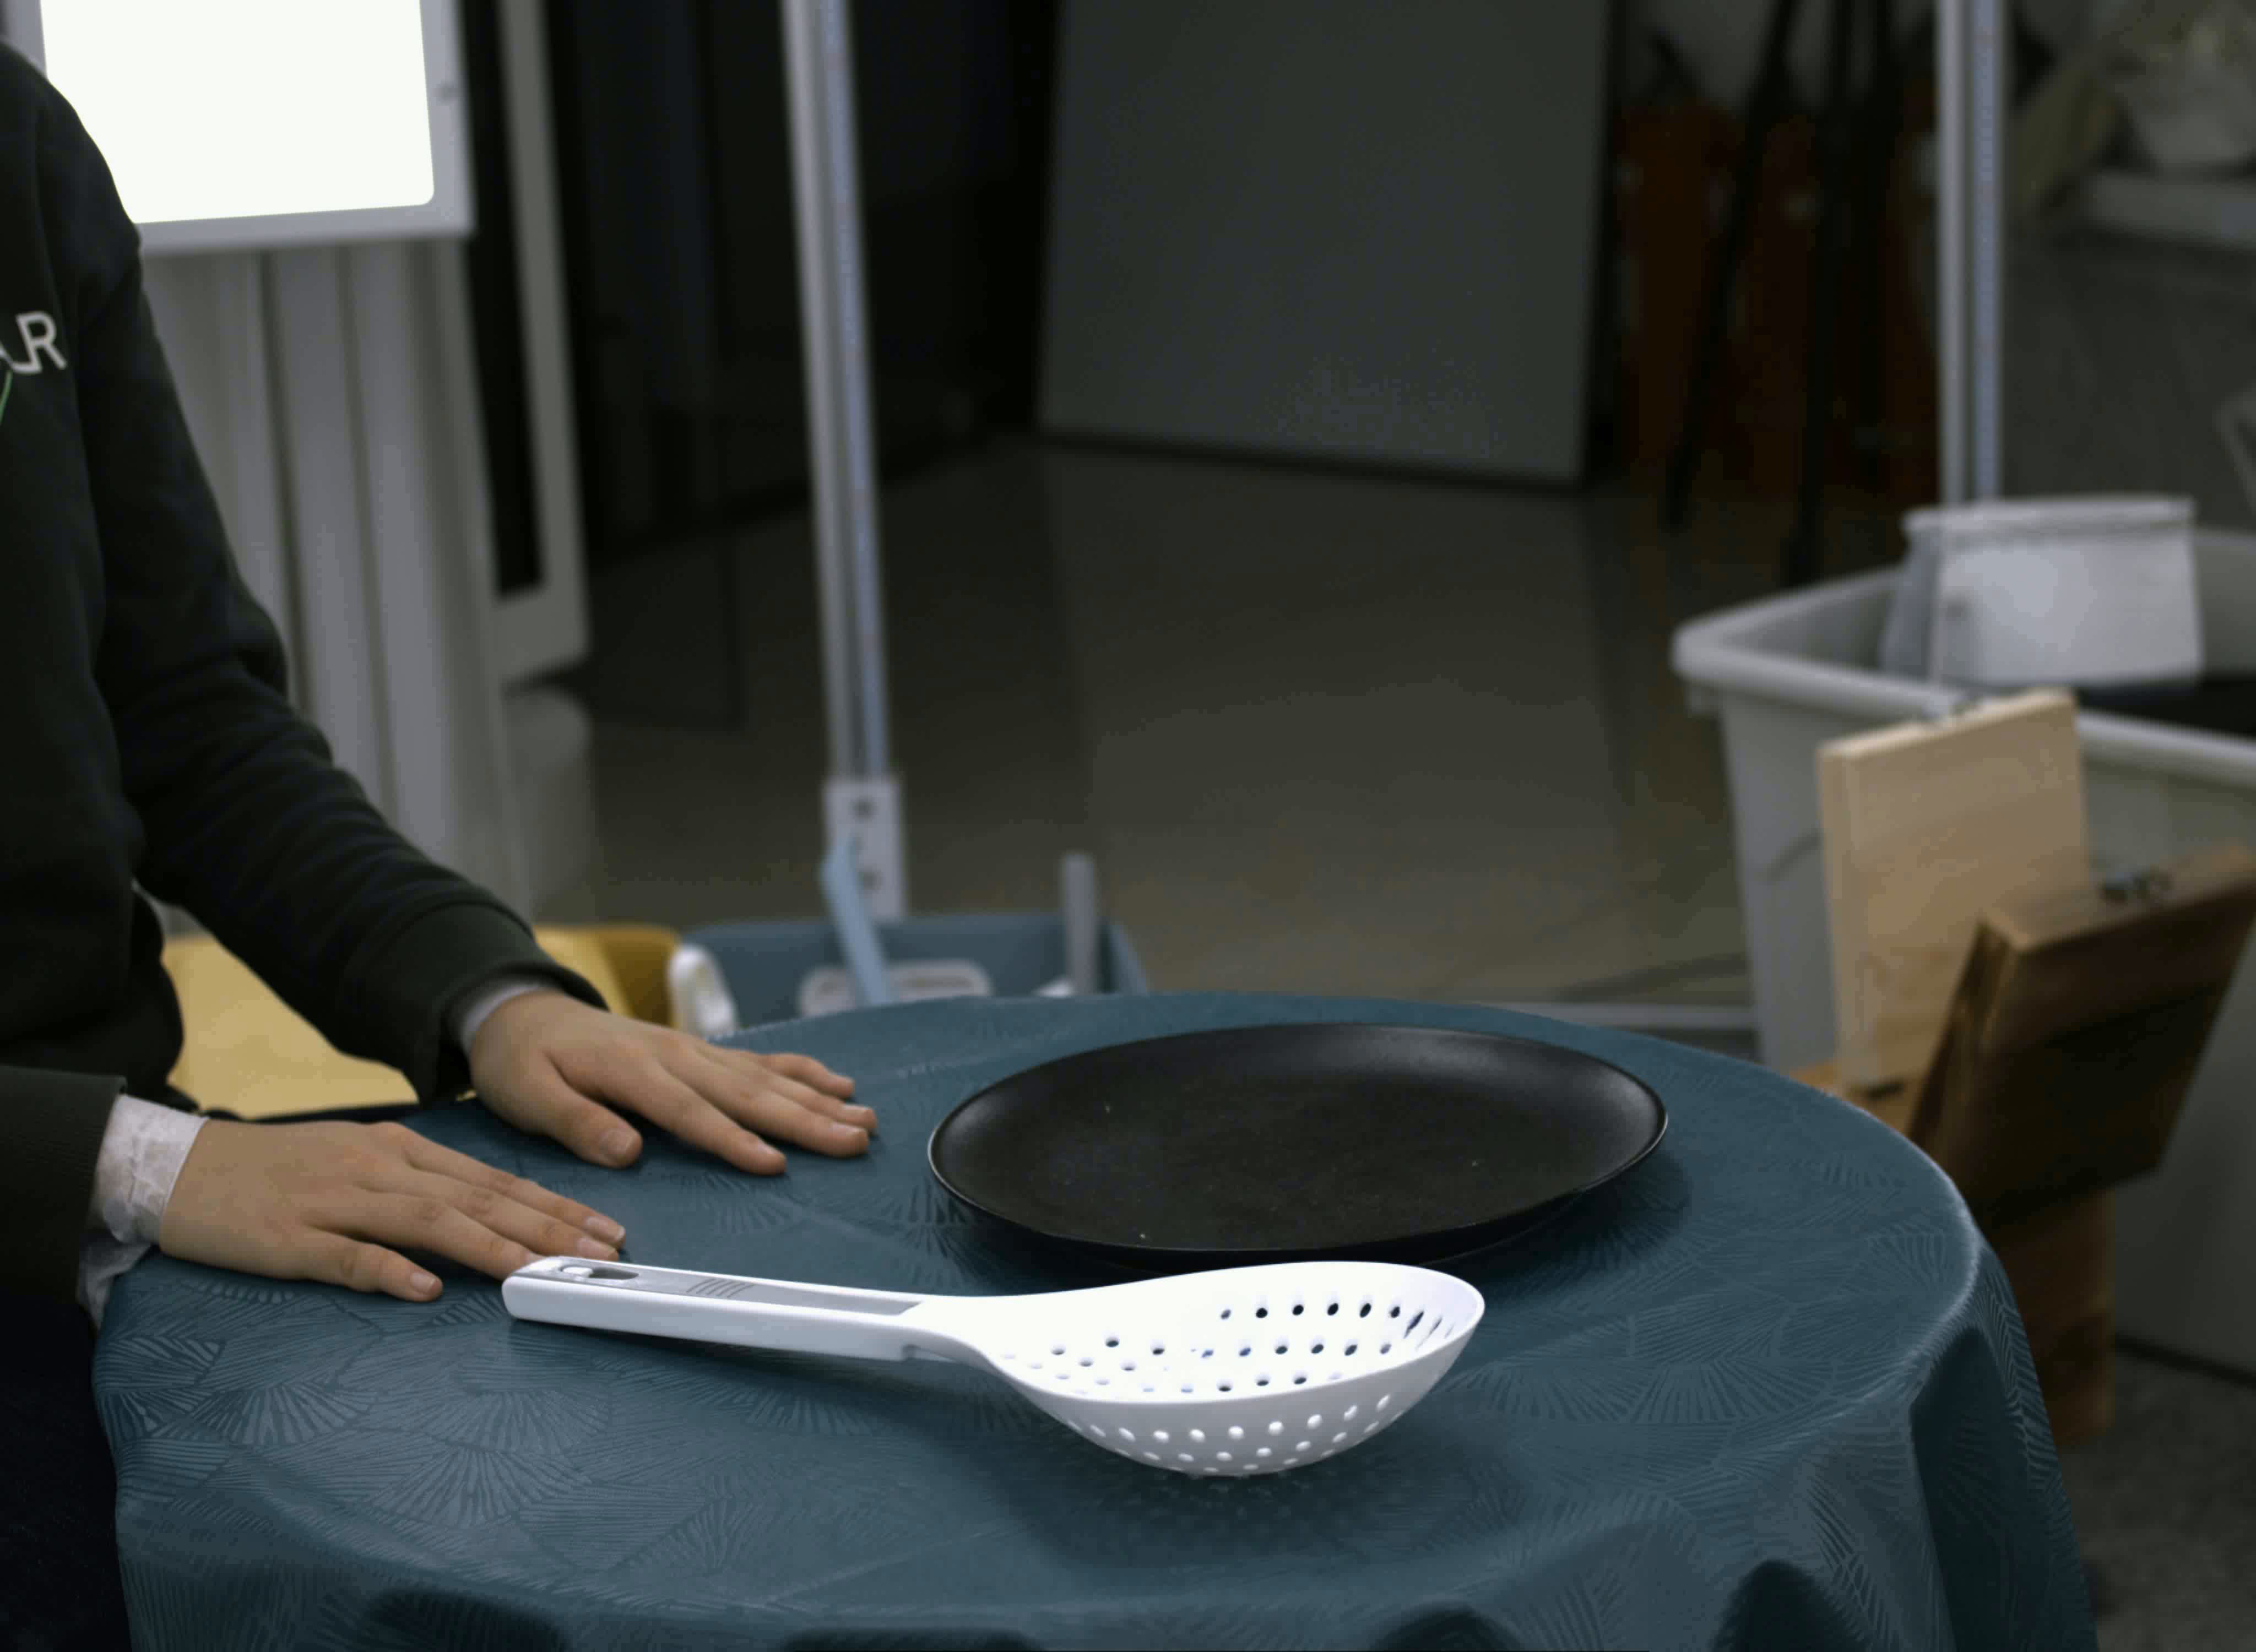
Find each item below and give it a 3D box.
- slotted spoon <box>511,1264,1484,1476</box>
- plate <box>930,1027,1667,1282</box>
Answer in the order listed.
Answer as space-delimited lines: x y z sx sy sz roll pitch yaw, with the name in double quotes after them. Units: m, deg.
-0.050 0.148 1.583 0.352 0.046 0.133 6 15 38 "slotted spoon"
0.056 0.109 1.755 0.241 0.024 0.245 -4 14 0 "plate"
